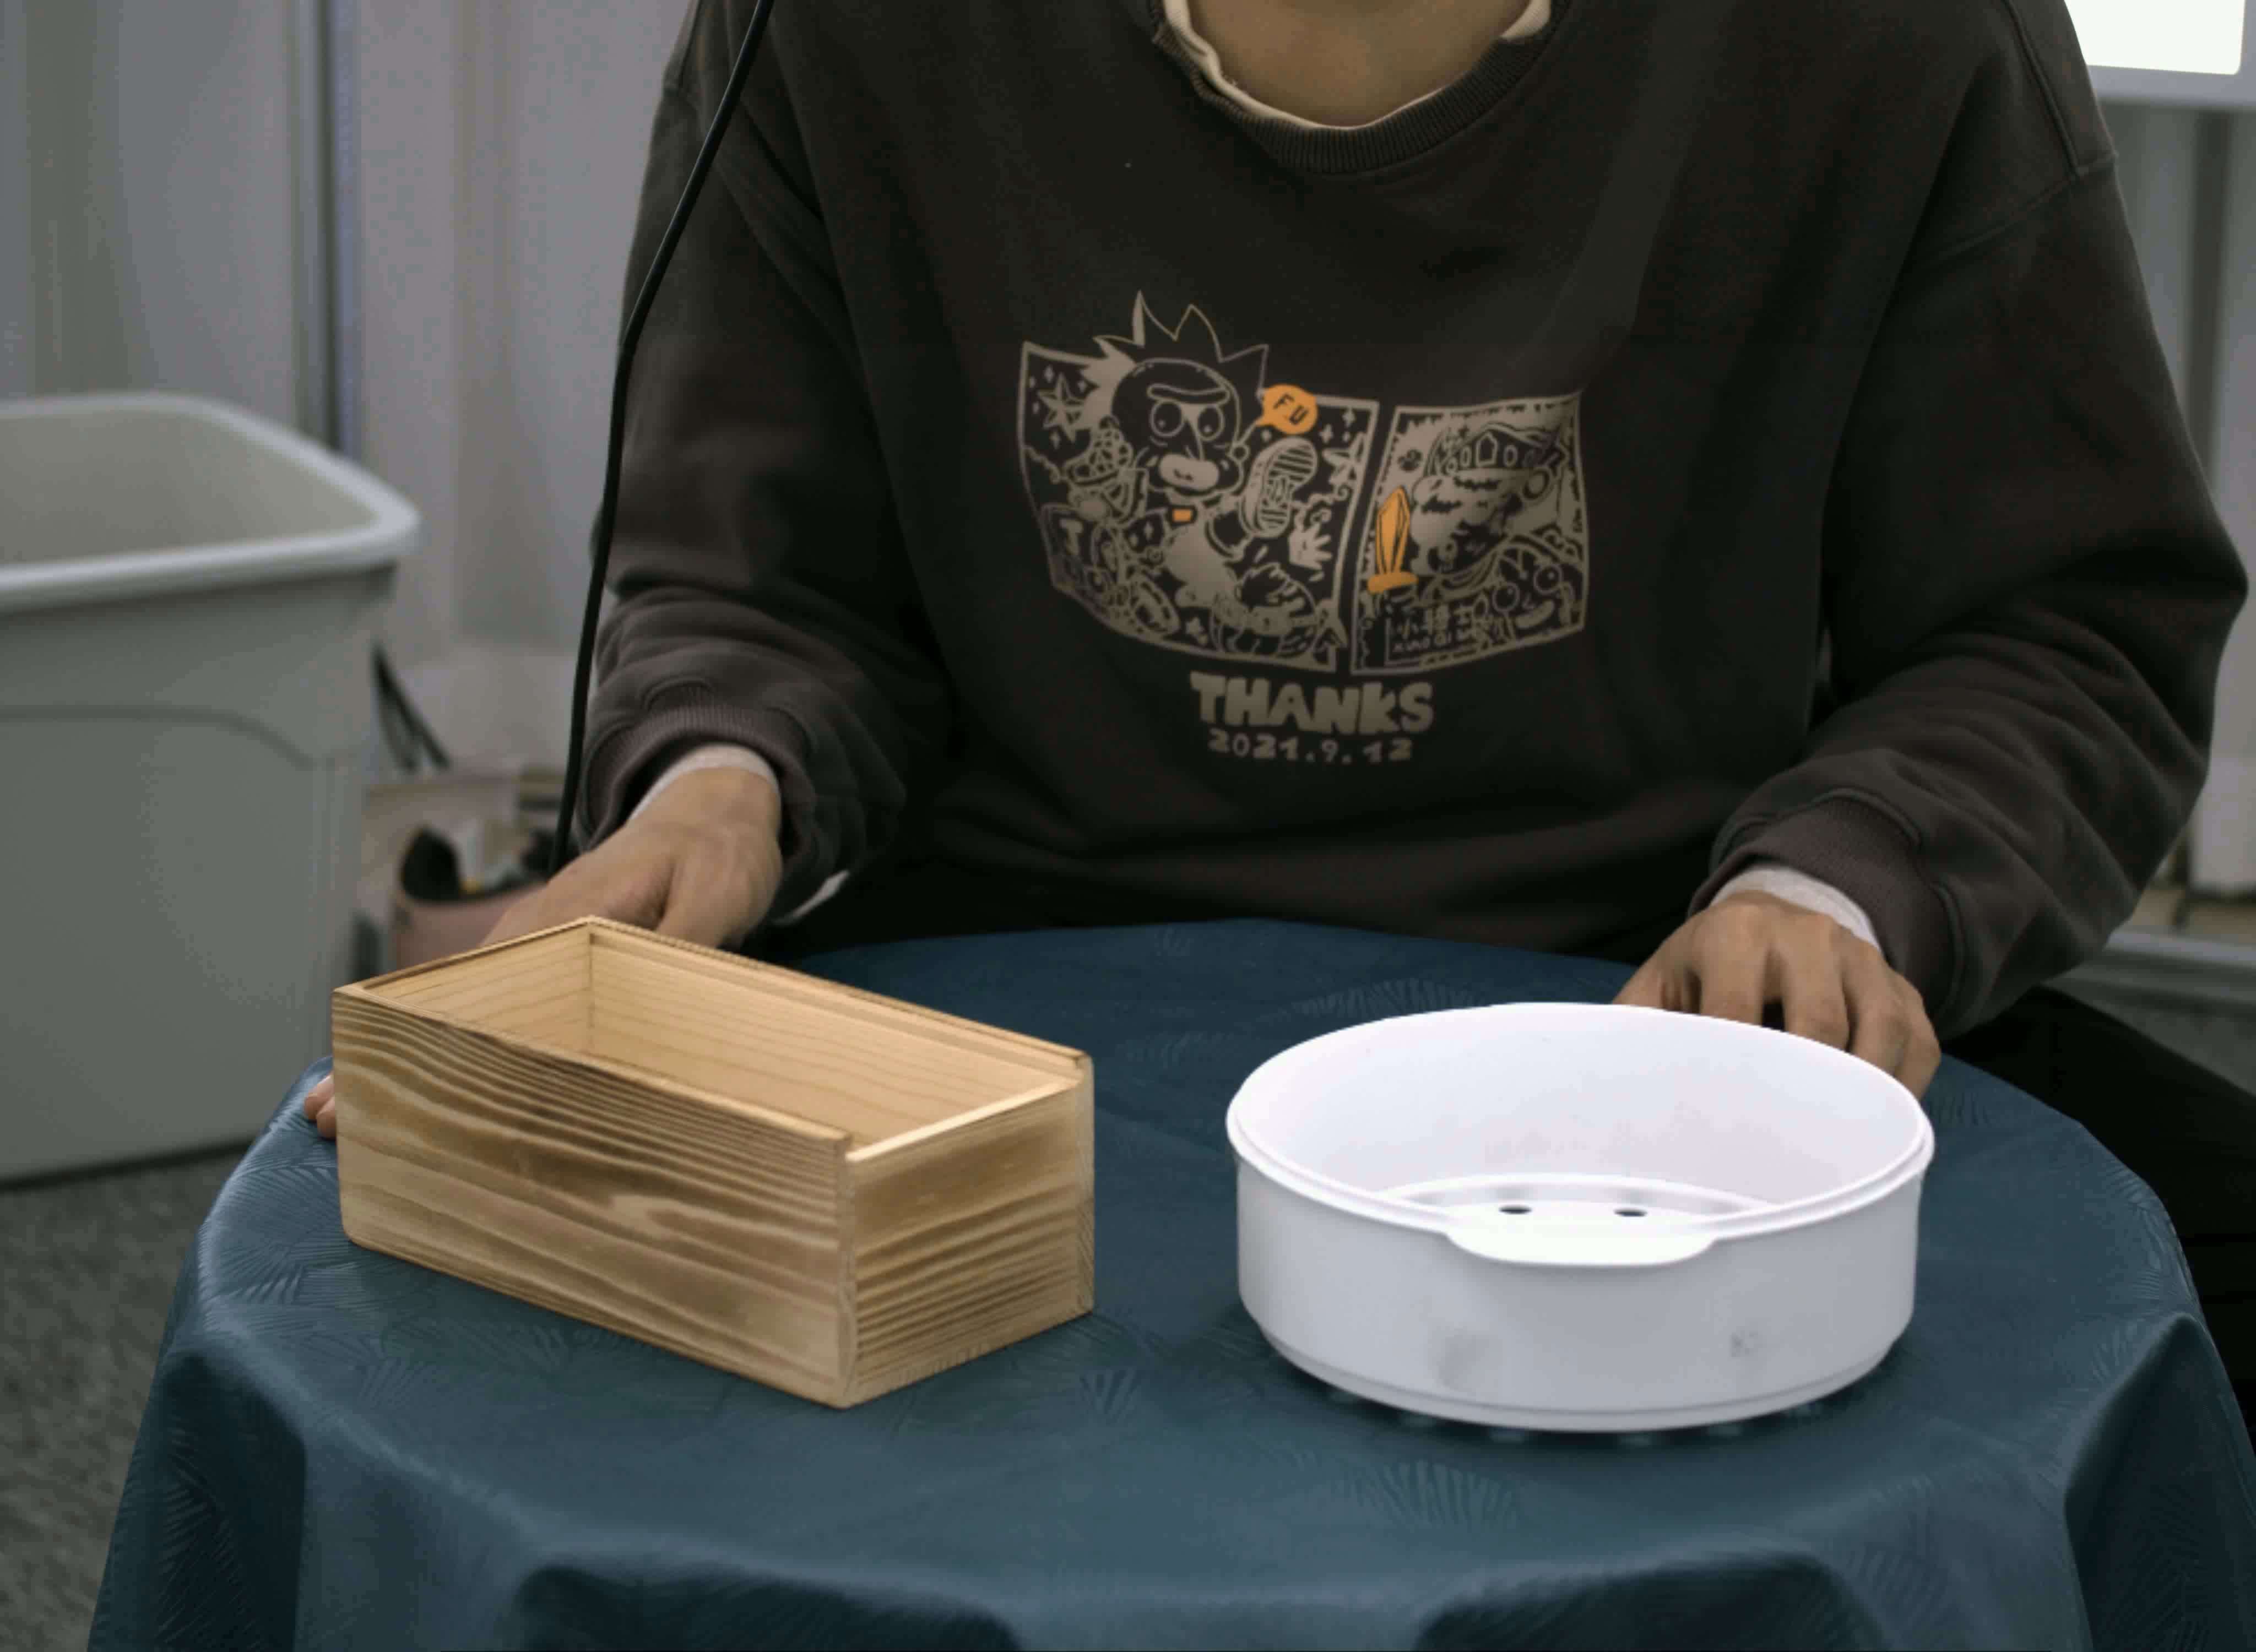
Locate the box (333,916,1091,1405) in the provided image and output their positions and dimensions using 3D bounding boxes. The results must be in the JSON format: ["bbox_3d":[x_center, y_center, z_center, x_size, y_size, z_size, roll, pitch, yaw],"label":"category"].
[{"bbox_3d":[-0.124,0.094,1.543,0.208,0.081,0.108,14,20,39],"label":"box"}]

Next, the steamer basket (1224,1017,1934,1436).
[{"bbox_3d":[0.127,0.113,1.505,0.201,0.070,0.230,2,14,4],"label":"steamer basket"}]
